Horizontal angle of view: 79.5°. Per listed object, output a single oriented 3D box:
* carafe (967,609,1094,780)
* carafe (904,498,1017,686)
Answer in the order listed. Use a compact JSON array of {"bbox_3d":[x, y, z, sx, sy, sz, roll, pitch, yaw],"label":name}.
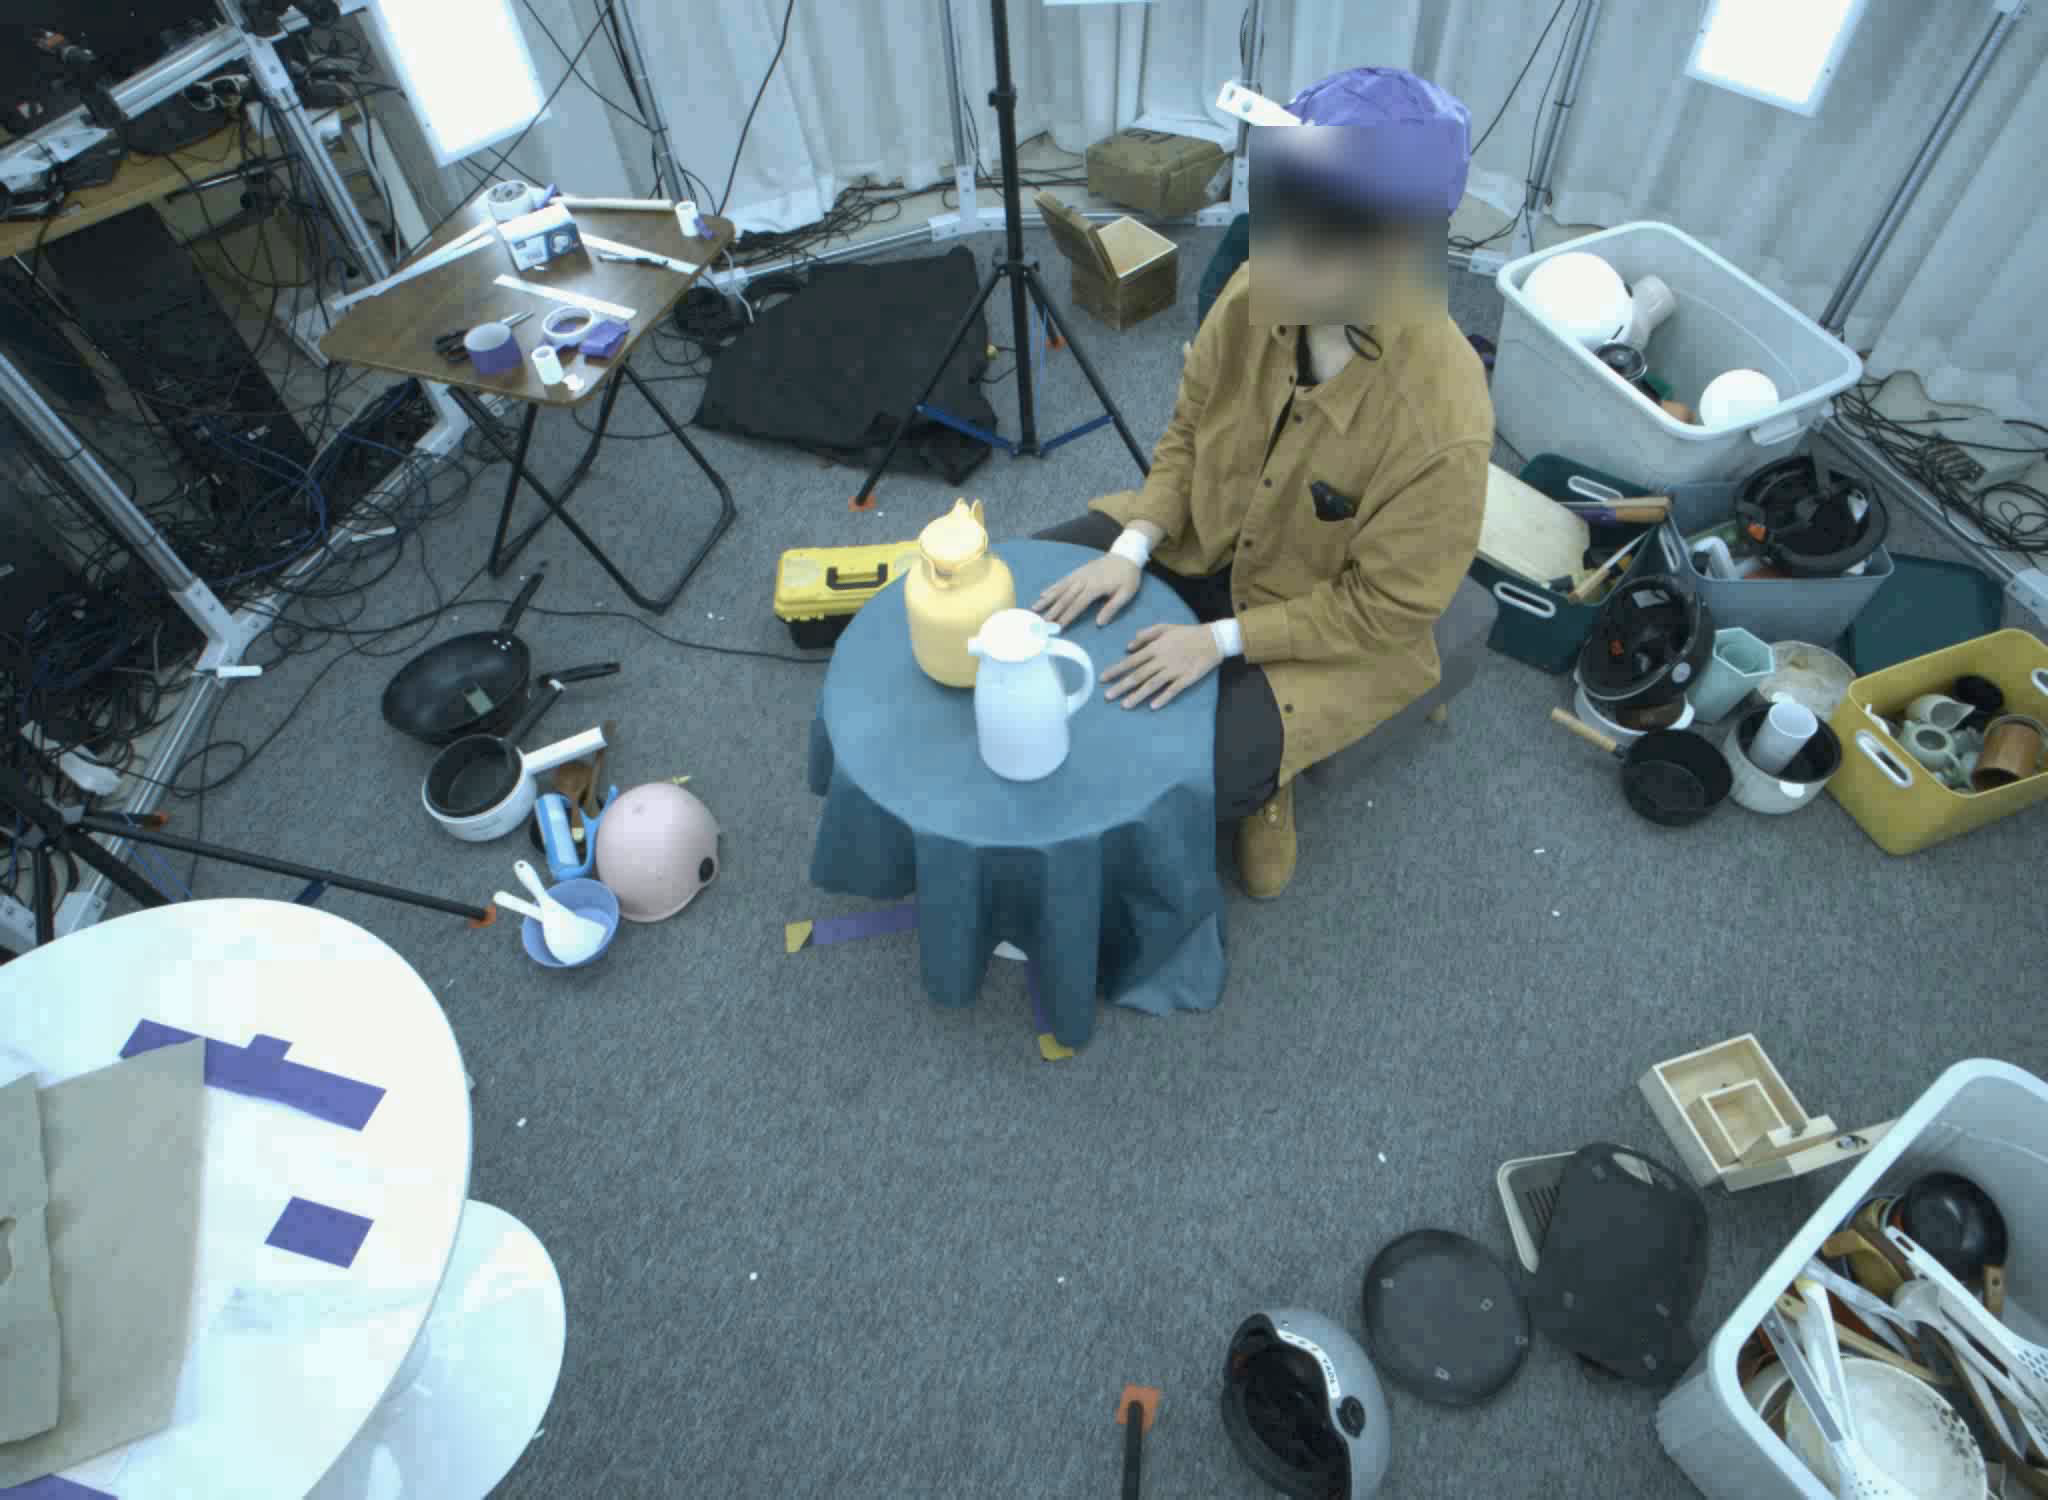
[{"bbox_3d":[0.012,-0.083,1.689,0.168,0.251,0.131,-3,54,0],"label":"carafe"},{"bbox_3d":[-0.088,-0.237,1.795,0.162,0.263,0.201,10,57,8],"label":"carafe"}]
